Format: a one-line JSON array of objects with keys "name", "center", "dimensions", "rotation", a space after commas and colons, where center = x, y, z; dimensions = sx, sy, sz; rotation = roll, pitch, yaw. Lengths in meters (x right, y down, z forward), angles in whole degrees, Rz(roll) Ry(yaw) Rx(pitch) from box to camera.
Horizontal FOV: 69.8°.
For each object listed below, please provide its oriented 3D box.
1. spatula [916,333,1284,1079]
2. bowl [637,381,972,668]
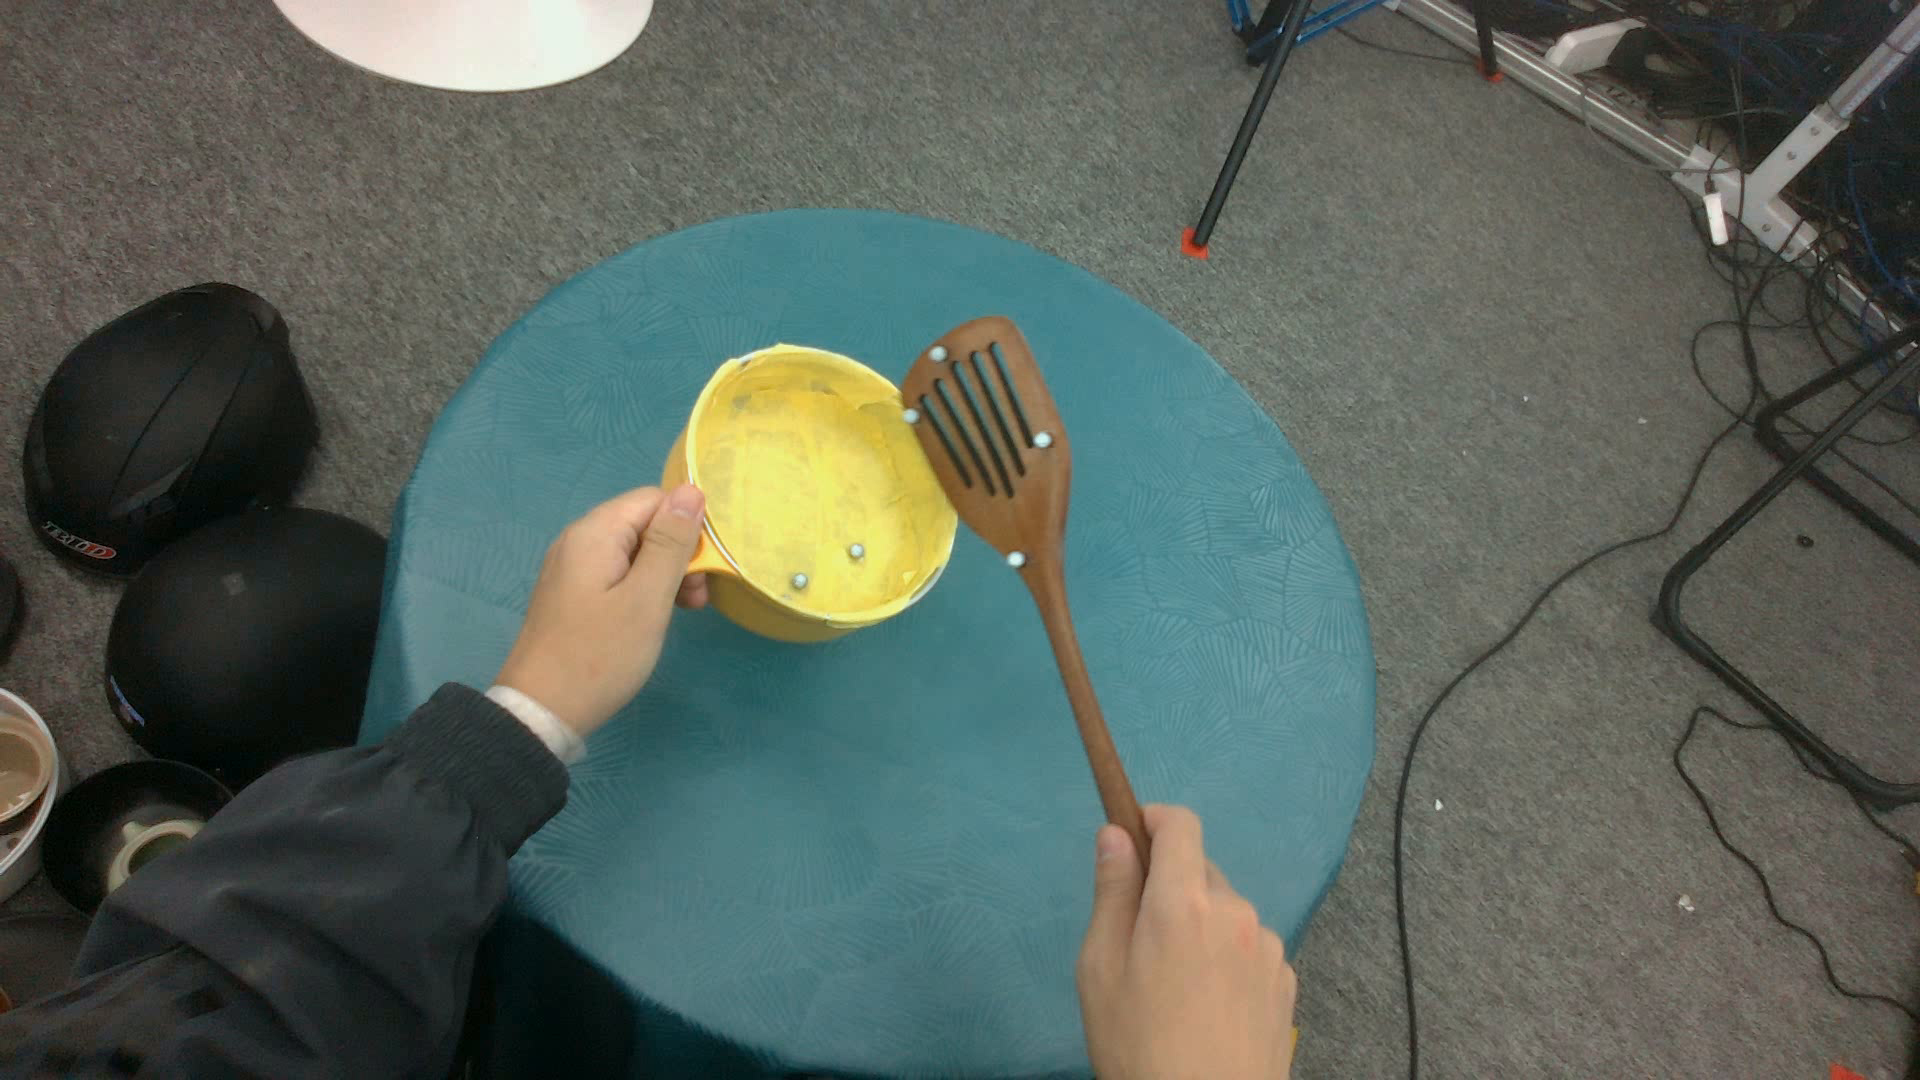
[{"name": "spatula", "center": [0.071, 0.077, 0.664], "dimensions": [0.024, 0.085, 0.387], "rotation": [-1, 64, -48]}, {"name": "bowl", "center": [-0.086, 0.001, 0.729], "dimensions": [0.180, 0.074, 0.153], "rotation": [-36, 86, -40]}]
